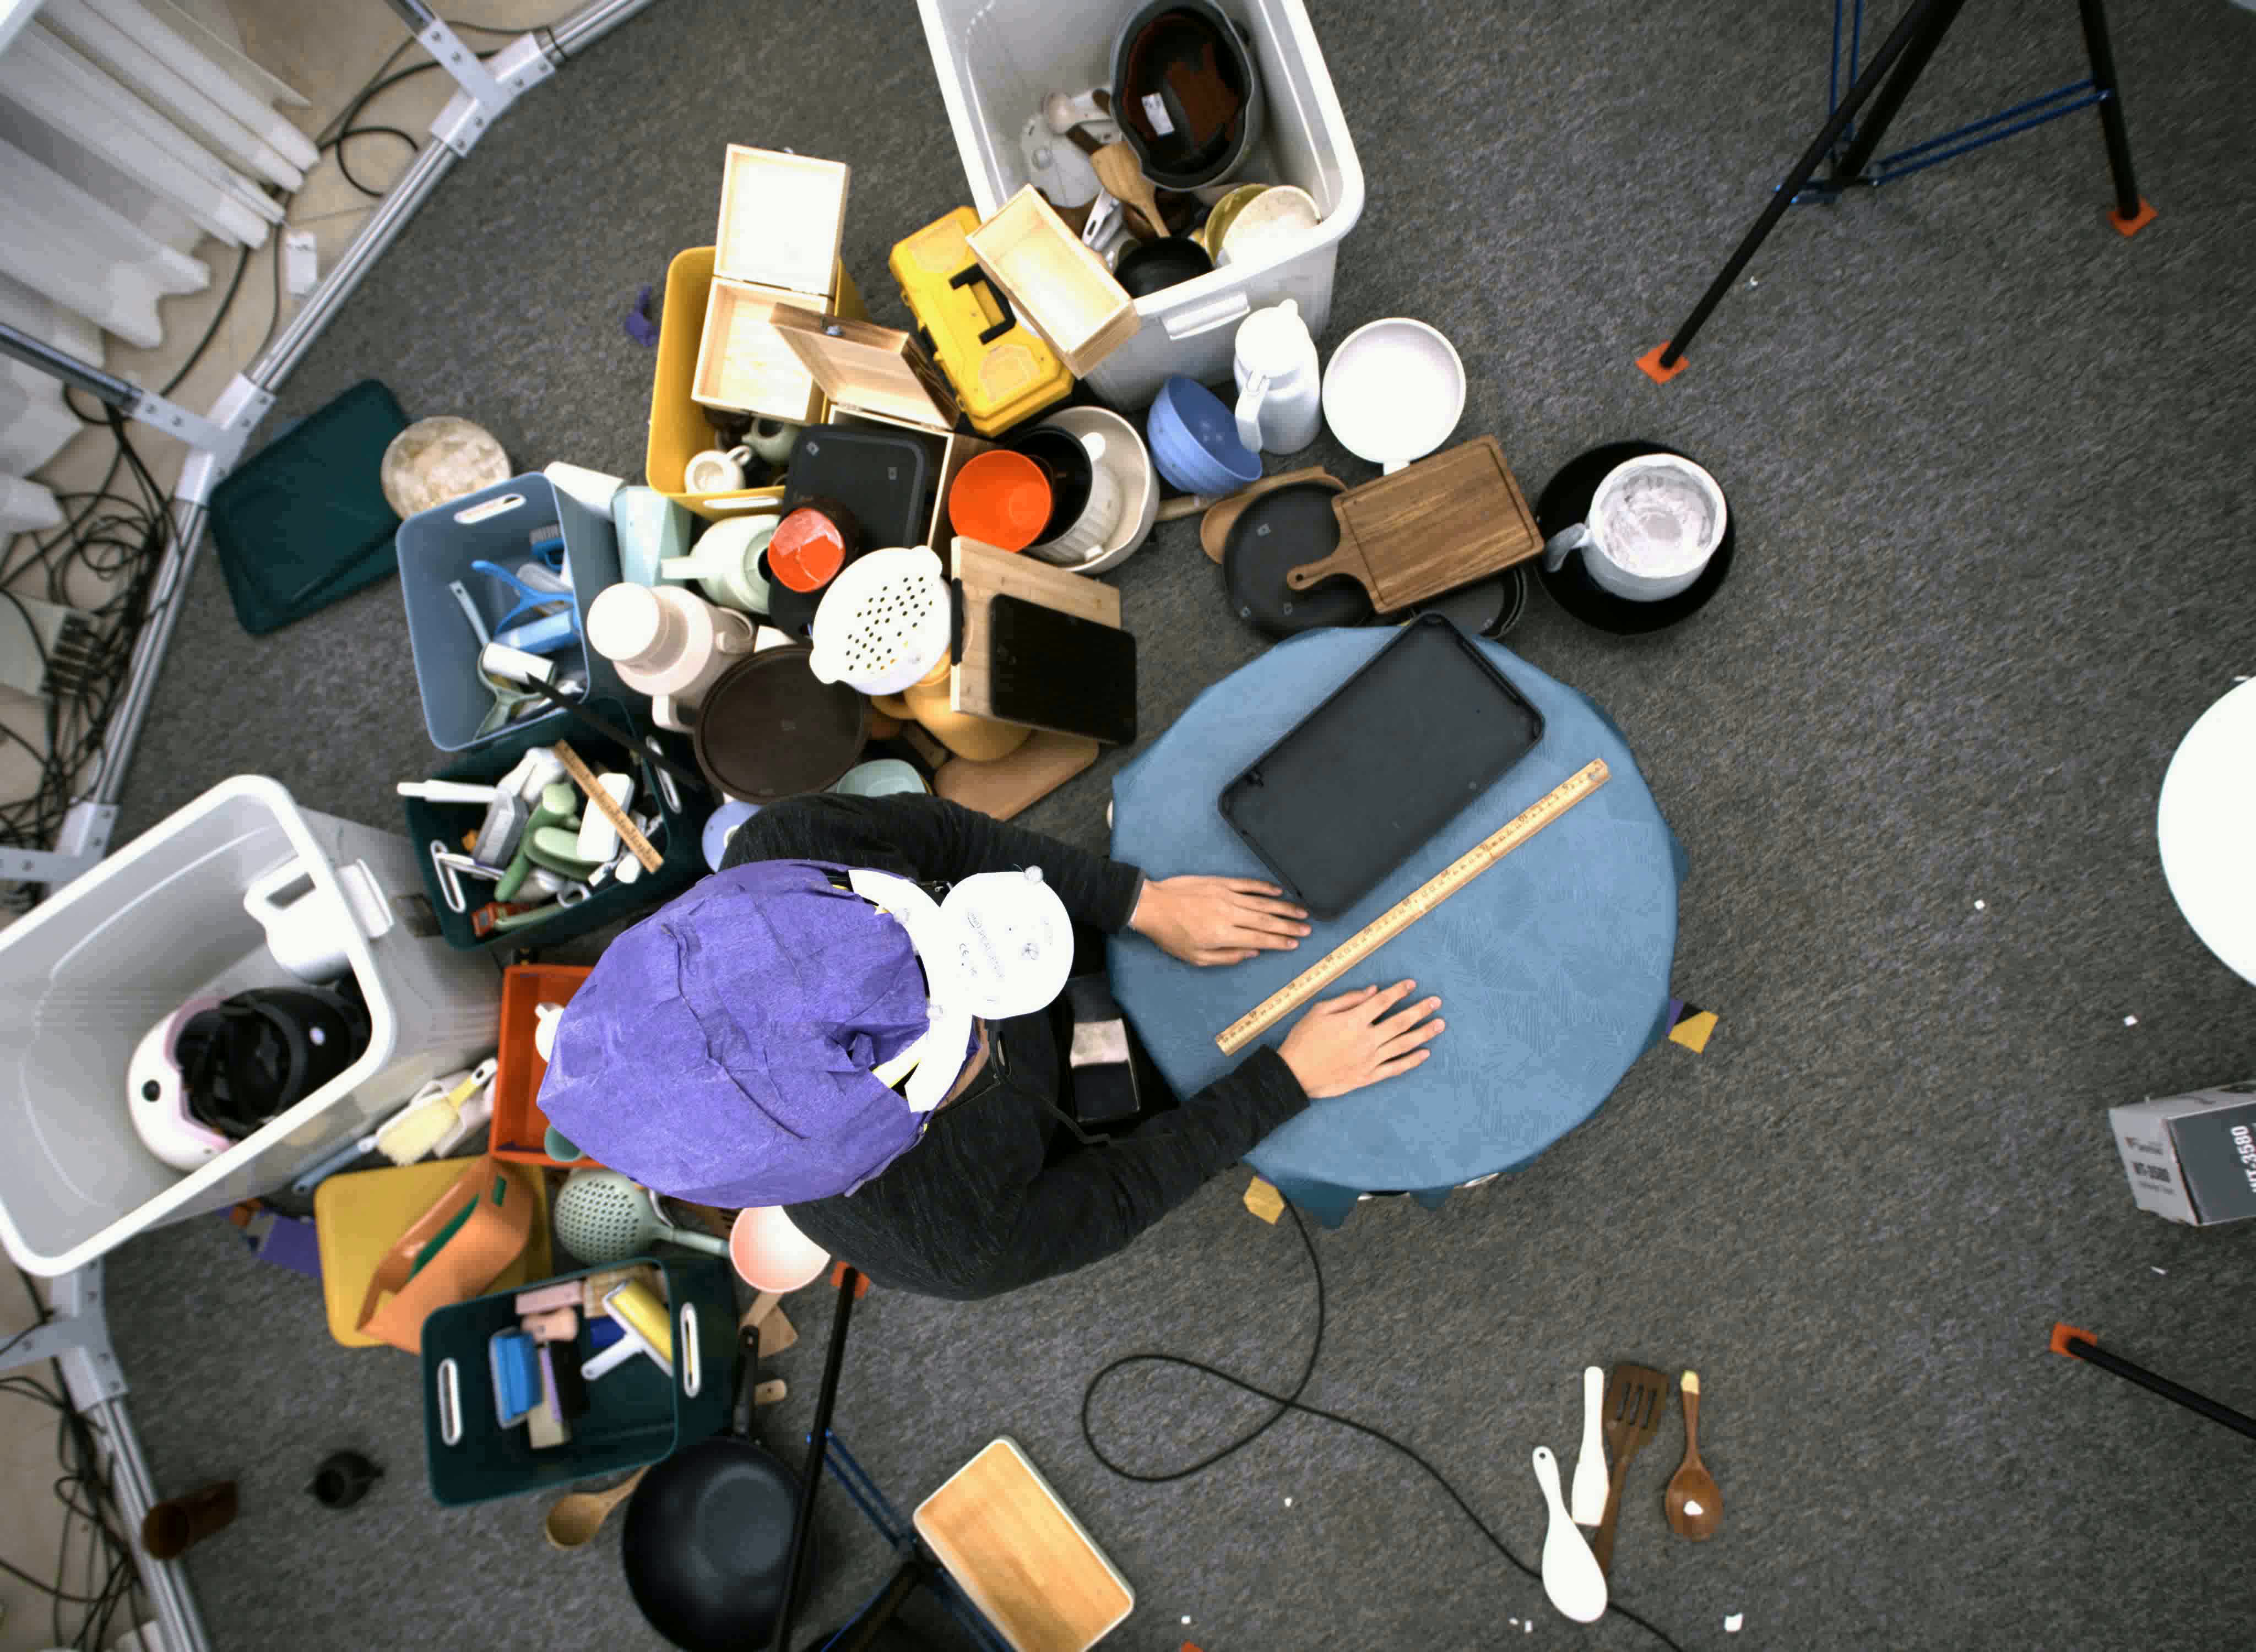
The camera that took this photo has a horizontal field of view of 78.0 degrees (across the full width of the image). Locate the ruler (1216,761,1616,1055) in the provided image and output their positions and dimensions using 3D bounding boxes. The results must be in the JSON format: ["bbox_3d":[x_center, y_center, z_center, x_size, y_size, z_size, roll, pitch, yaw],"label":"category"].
[{"bbox_3d":[0.299,0.085,1.451,0.503,0.006,0.026,-36,79,7],"label":"ruler"}]

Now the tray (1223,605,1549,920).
[{"bbox_3d":[0.269,-0.067,1.450,0.319,0.037,0.183,-43,80,6],"label":"tray"}]
